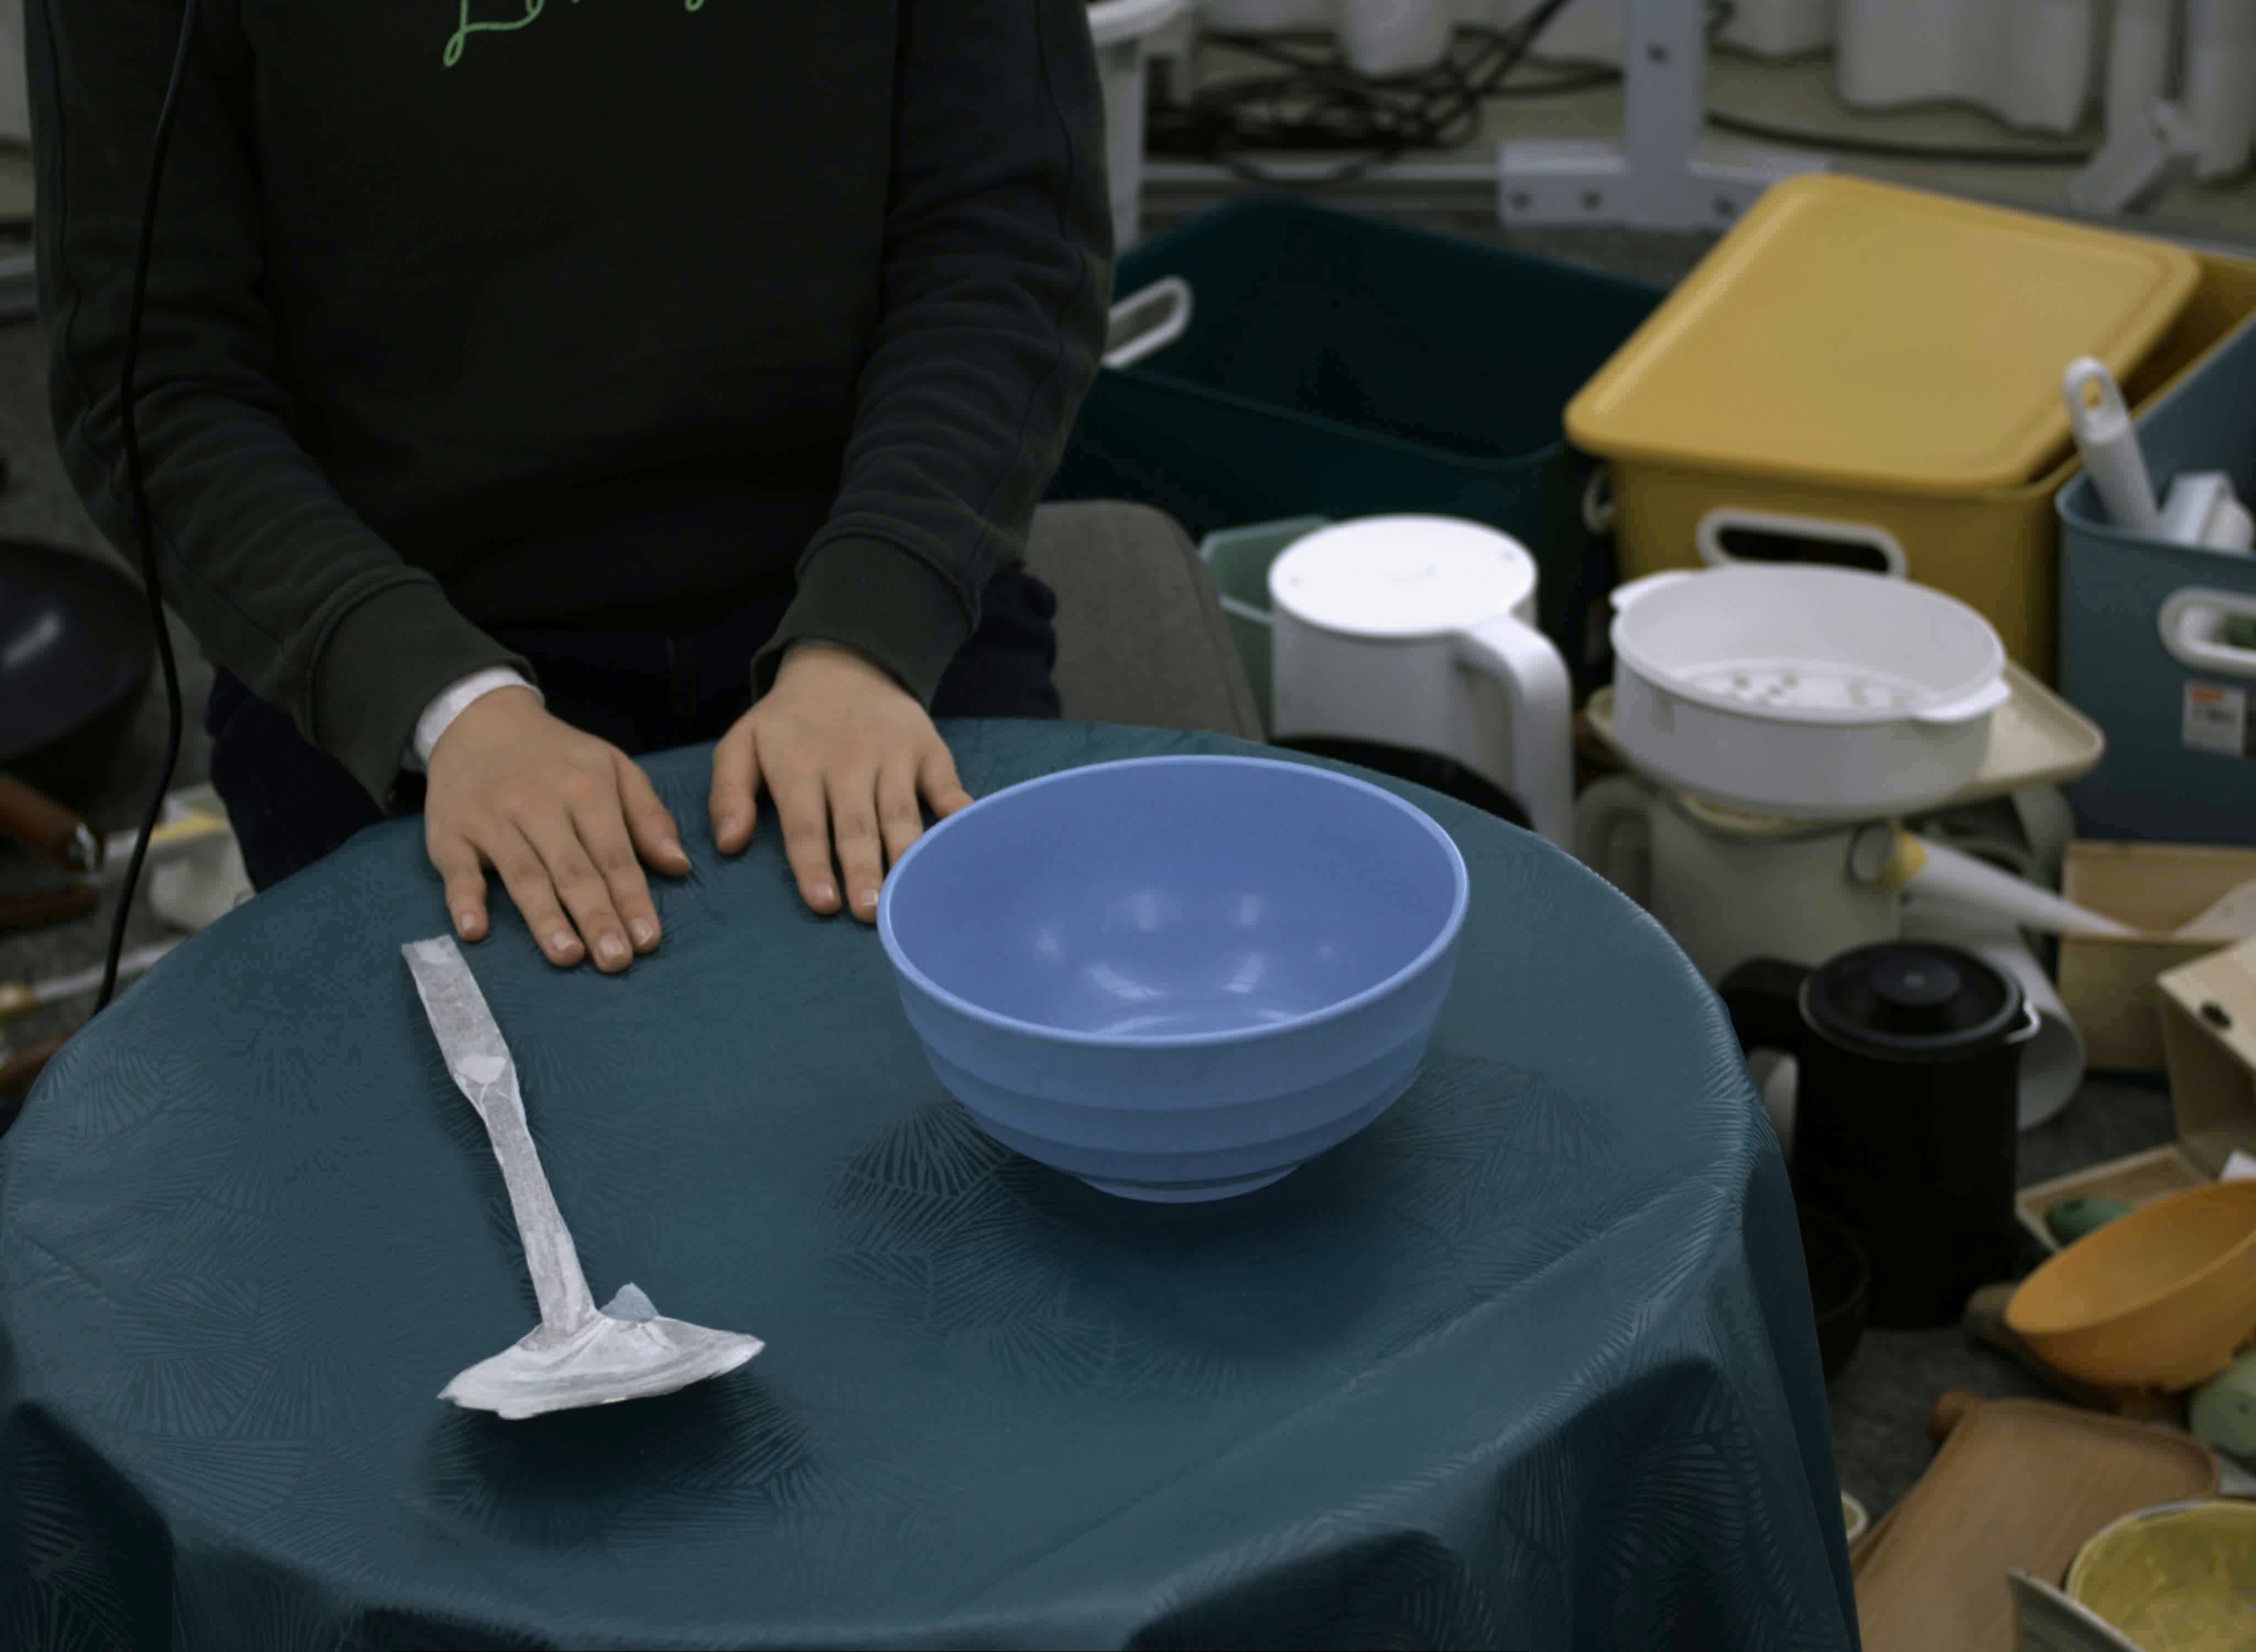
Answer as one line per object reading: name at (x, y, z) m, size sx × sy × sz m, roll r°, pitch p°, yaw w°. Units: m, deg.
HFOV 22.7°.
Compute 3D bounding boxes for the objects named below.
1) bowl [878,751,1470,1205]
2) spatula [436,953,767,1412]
bowl at (0.018, 0.062, 1.872) m, size 0.195 × 0.094 × 0.199 m, roll -3°, pitch 28°, yaw 2°
spatula at (-0.198, 0.110, 1.862) m, size 0.099 × 0.044 × 0.369 m, roll -11°, pitch 28°, yaw -11°
